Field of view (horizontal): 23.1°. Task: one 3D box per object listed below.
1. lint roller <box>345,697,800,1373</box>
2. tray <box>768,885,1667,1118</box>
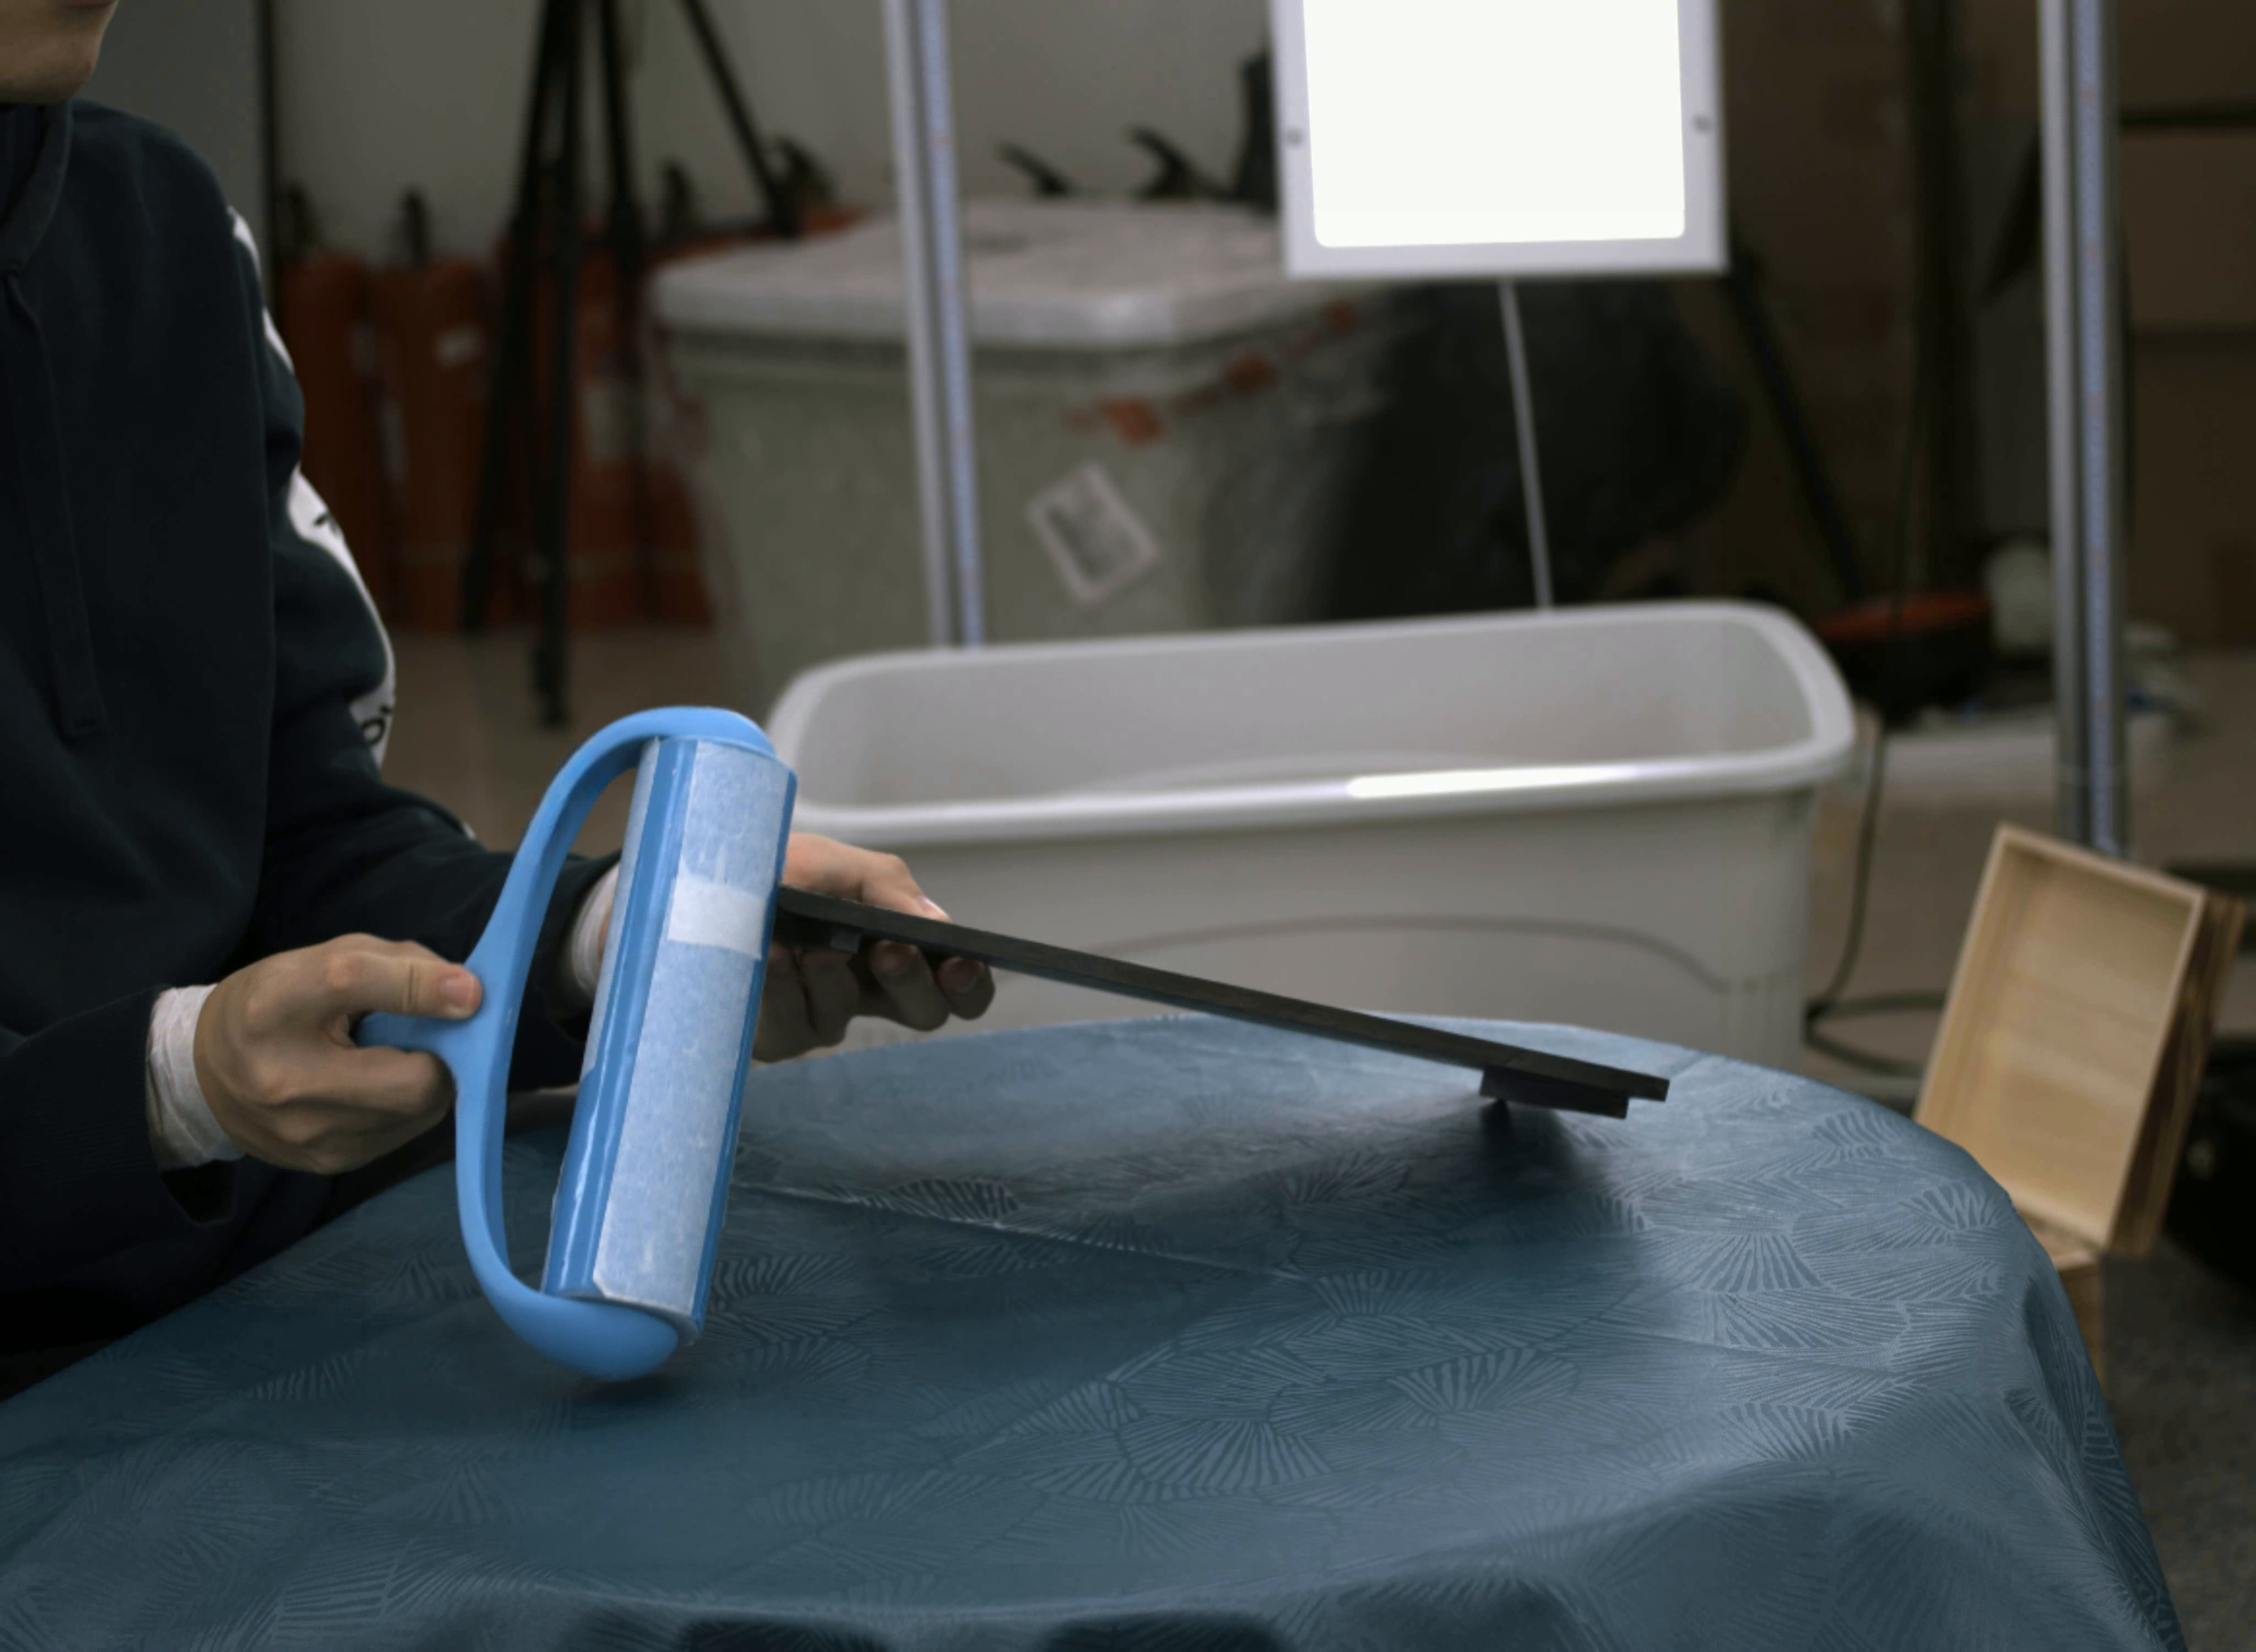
[{"bbox_3d":[-0.197,0.072,1.794,0.184,0.228,0.067,-9,-26,30],"label":"lint roller"},{"bbox_3d":[0.019,0.060,1.869,0.303,0.018,0.171,12,-3,-9],"label":"tray"}]
